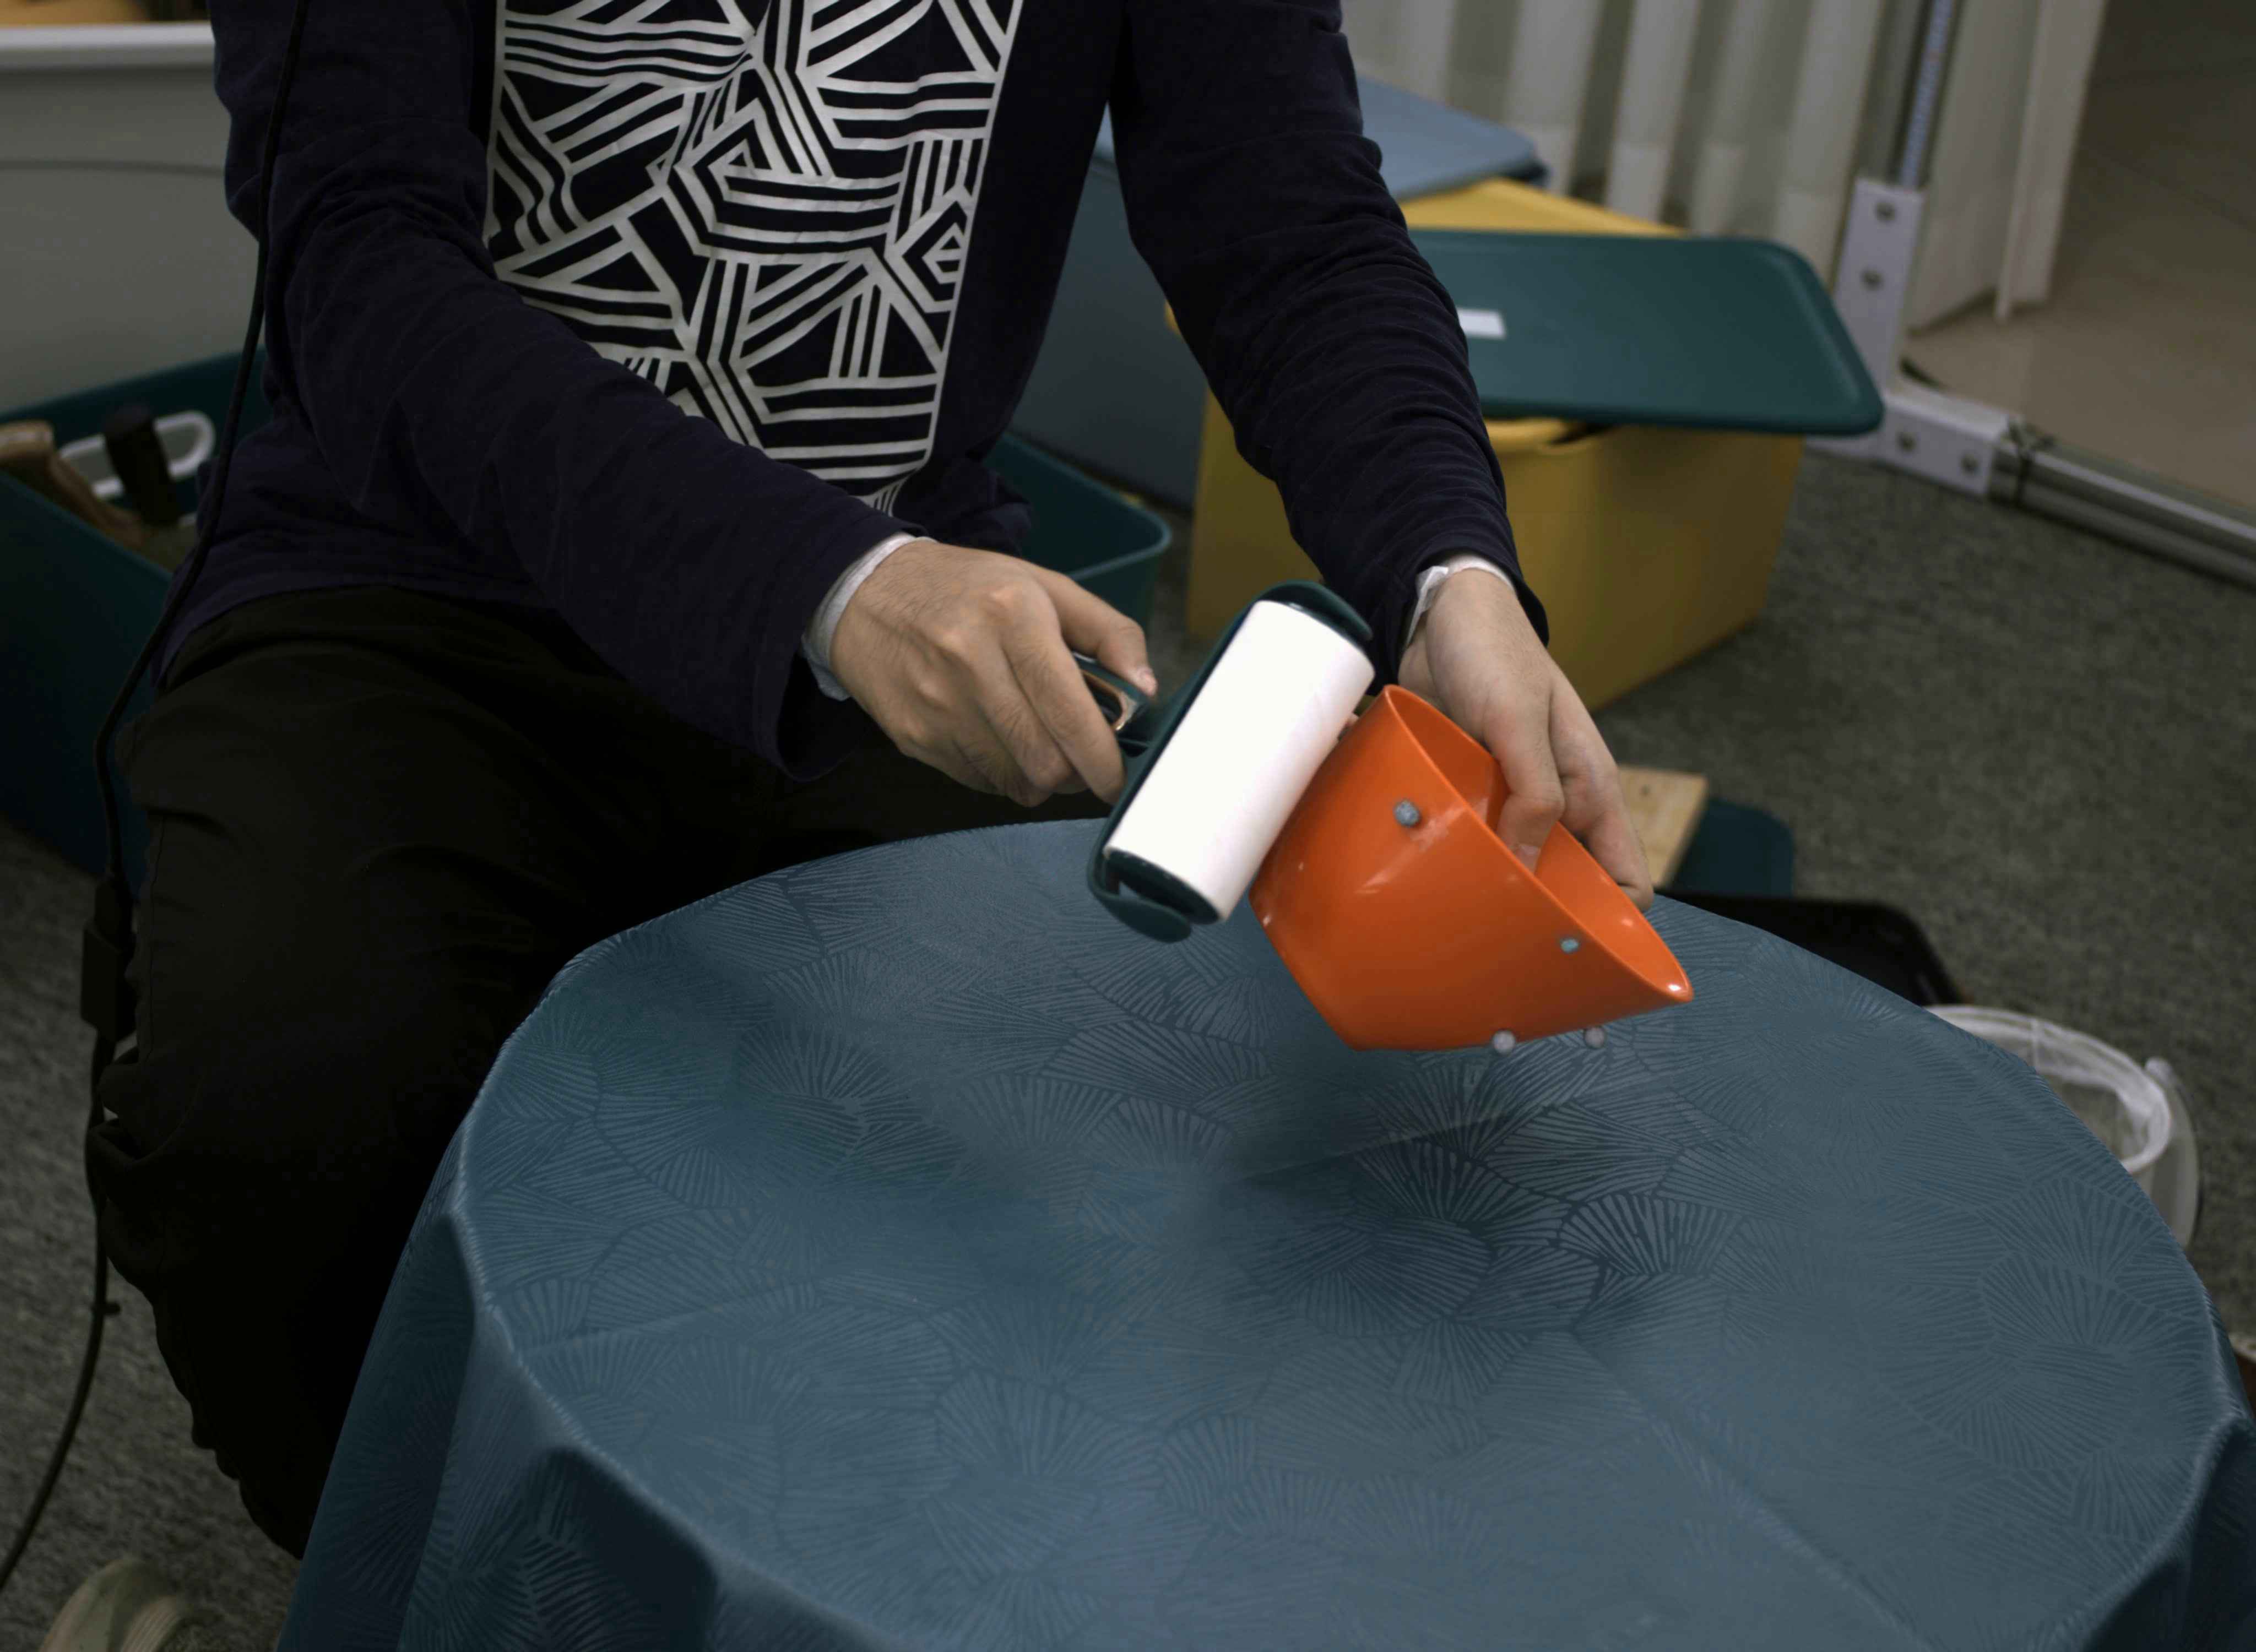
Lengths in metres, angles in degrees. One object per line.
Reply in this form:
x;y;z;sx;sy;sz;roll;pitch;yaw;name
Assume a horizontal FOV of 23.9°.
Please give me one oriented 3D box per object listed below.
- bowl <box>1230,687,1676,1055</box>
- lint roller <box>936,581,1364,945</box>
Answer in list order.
0.102;0.030;1.814;0.104;0.147;0.149;-36;31;6;bowl
-0.012;-0.038;1.813;0.181;0.048;0.134;19;72;42;lint roller
